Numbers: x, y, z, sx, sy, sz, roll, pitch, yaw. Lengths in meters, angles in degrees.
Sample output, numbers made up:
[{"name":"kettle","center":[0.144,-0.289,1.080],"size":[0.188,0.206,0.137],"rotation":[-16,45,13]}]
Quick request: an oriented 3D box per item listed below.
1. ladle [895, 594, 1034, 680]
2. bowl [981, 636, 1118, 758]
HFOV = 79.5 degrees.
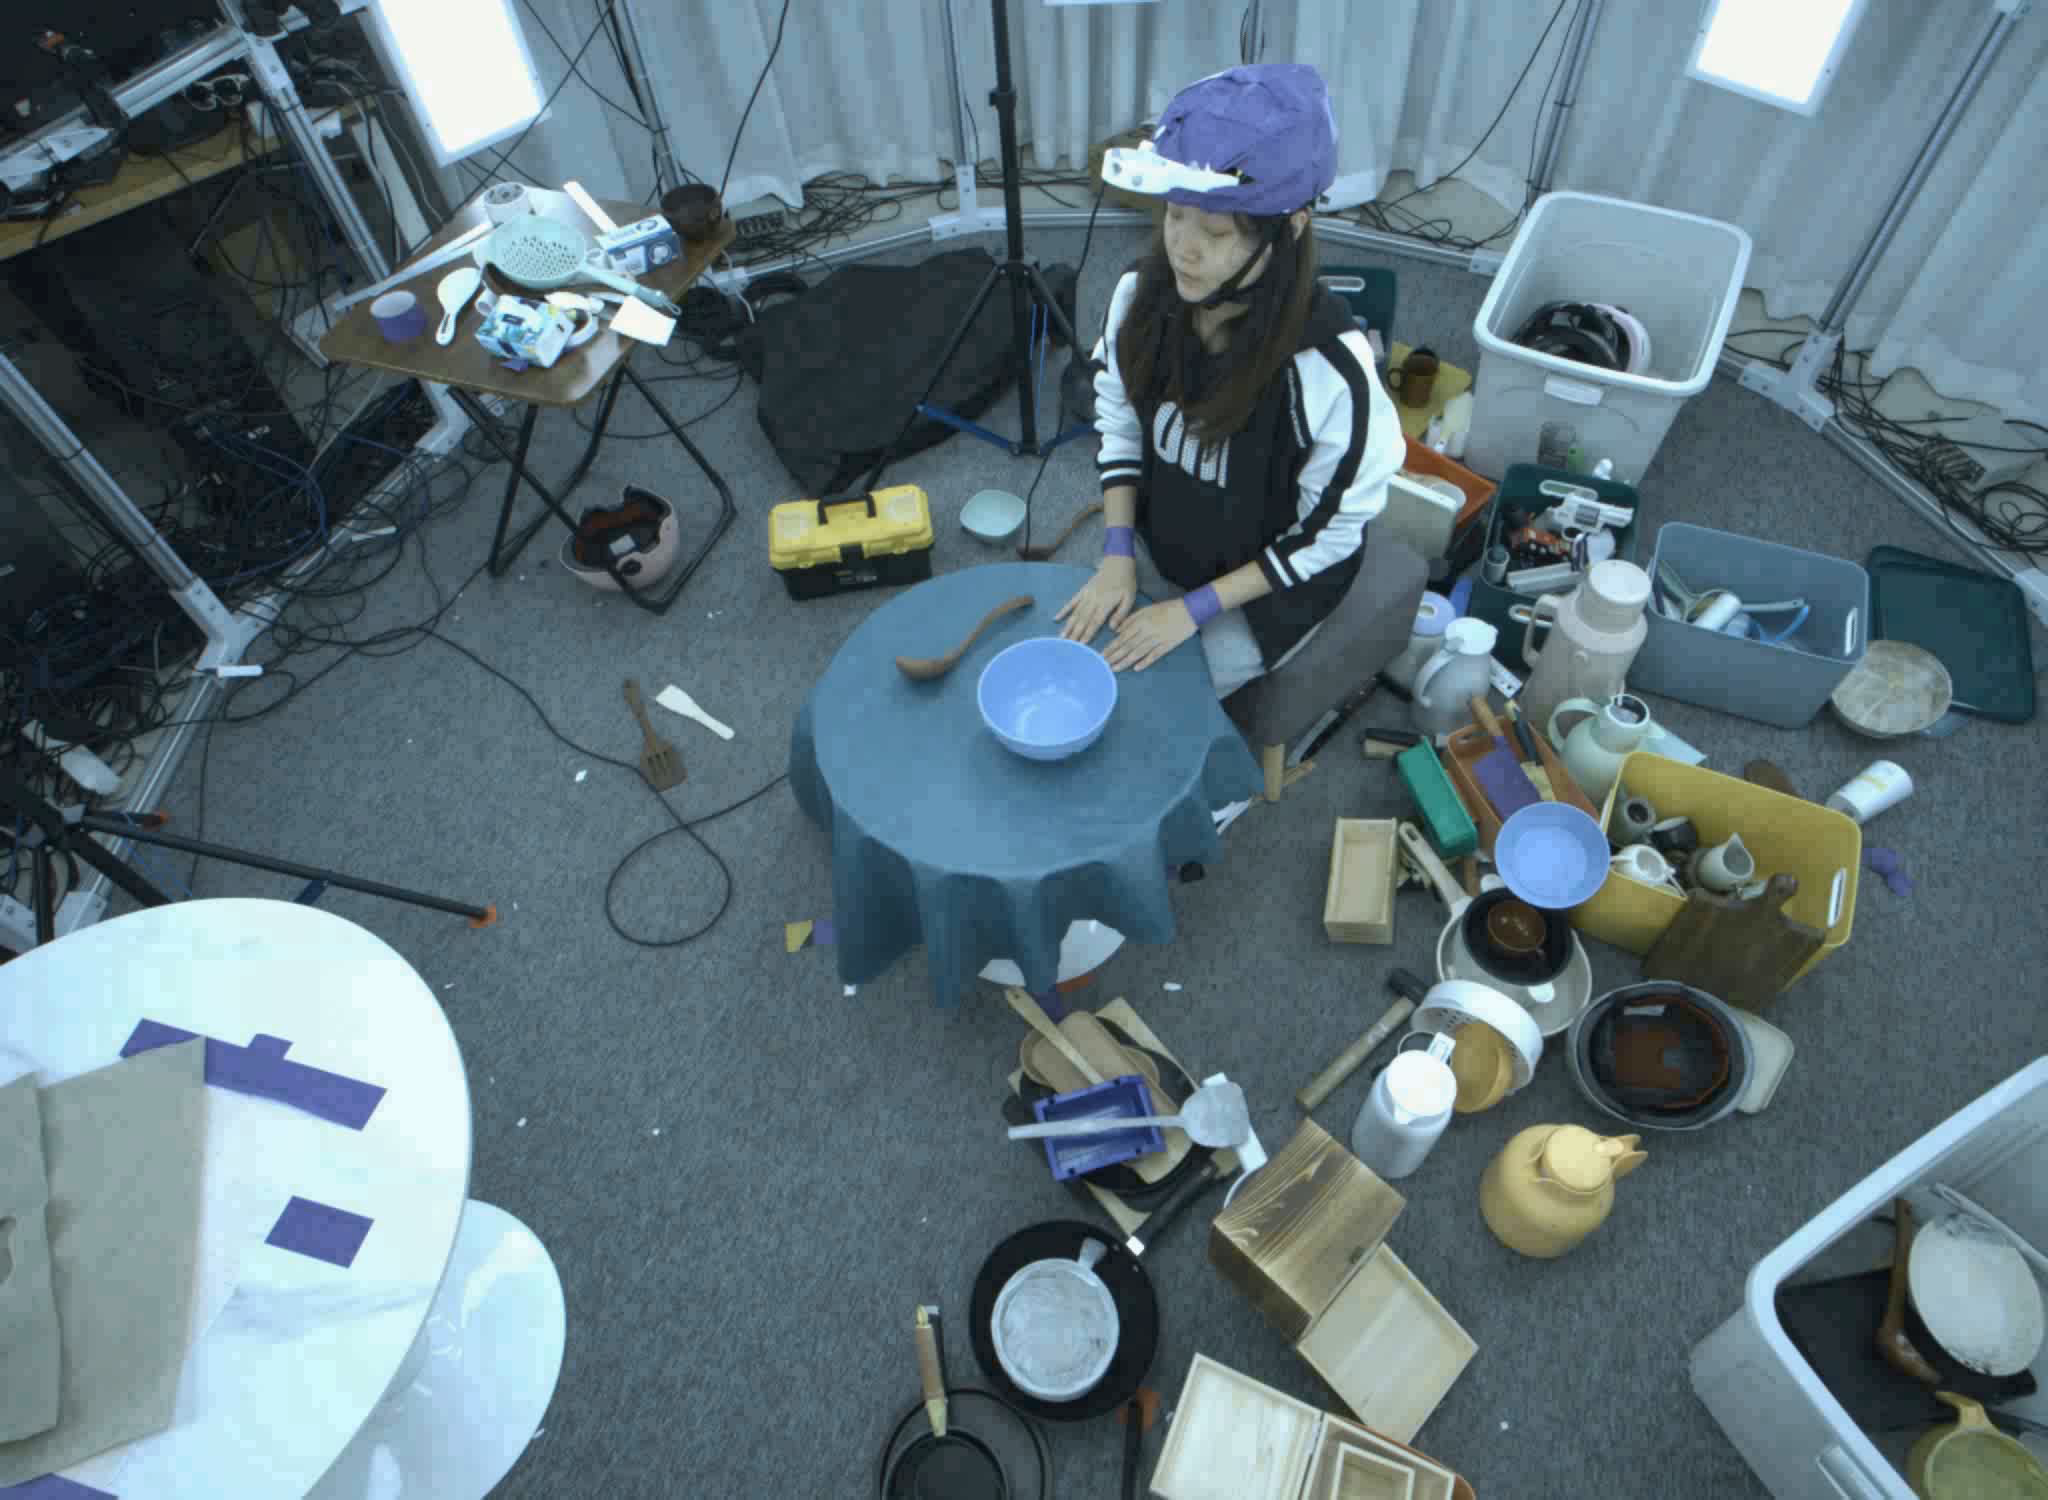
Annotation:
[{"name":"ladle","center":[-0.088,-0.186,1.886],"size":[0.262,0.066,0.075],"rotation":[-40,34,-23]},{"name":"bowl","center":[0.043,-0.061,1.772],"size":[0.195,0.097,0.194],"rotation":[-4,53,7]}]
